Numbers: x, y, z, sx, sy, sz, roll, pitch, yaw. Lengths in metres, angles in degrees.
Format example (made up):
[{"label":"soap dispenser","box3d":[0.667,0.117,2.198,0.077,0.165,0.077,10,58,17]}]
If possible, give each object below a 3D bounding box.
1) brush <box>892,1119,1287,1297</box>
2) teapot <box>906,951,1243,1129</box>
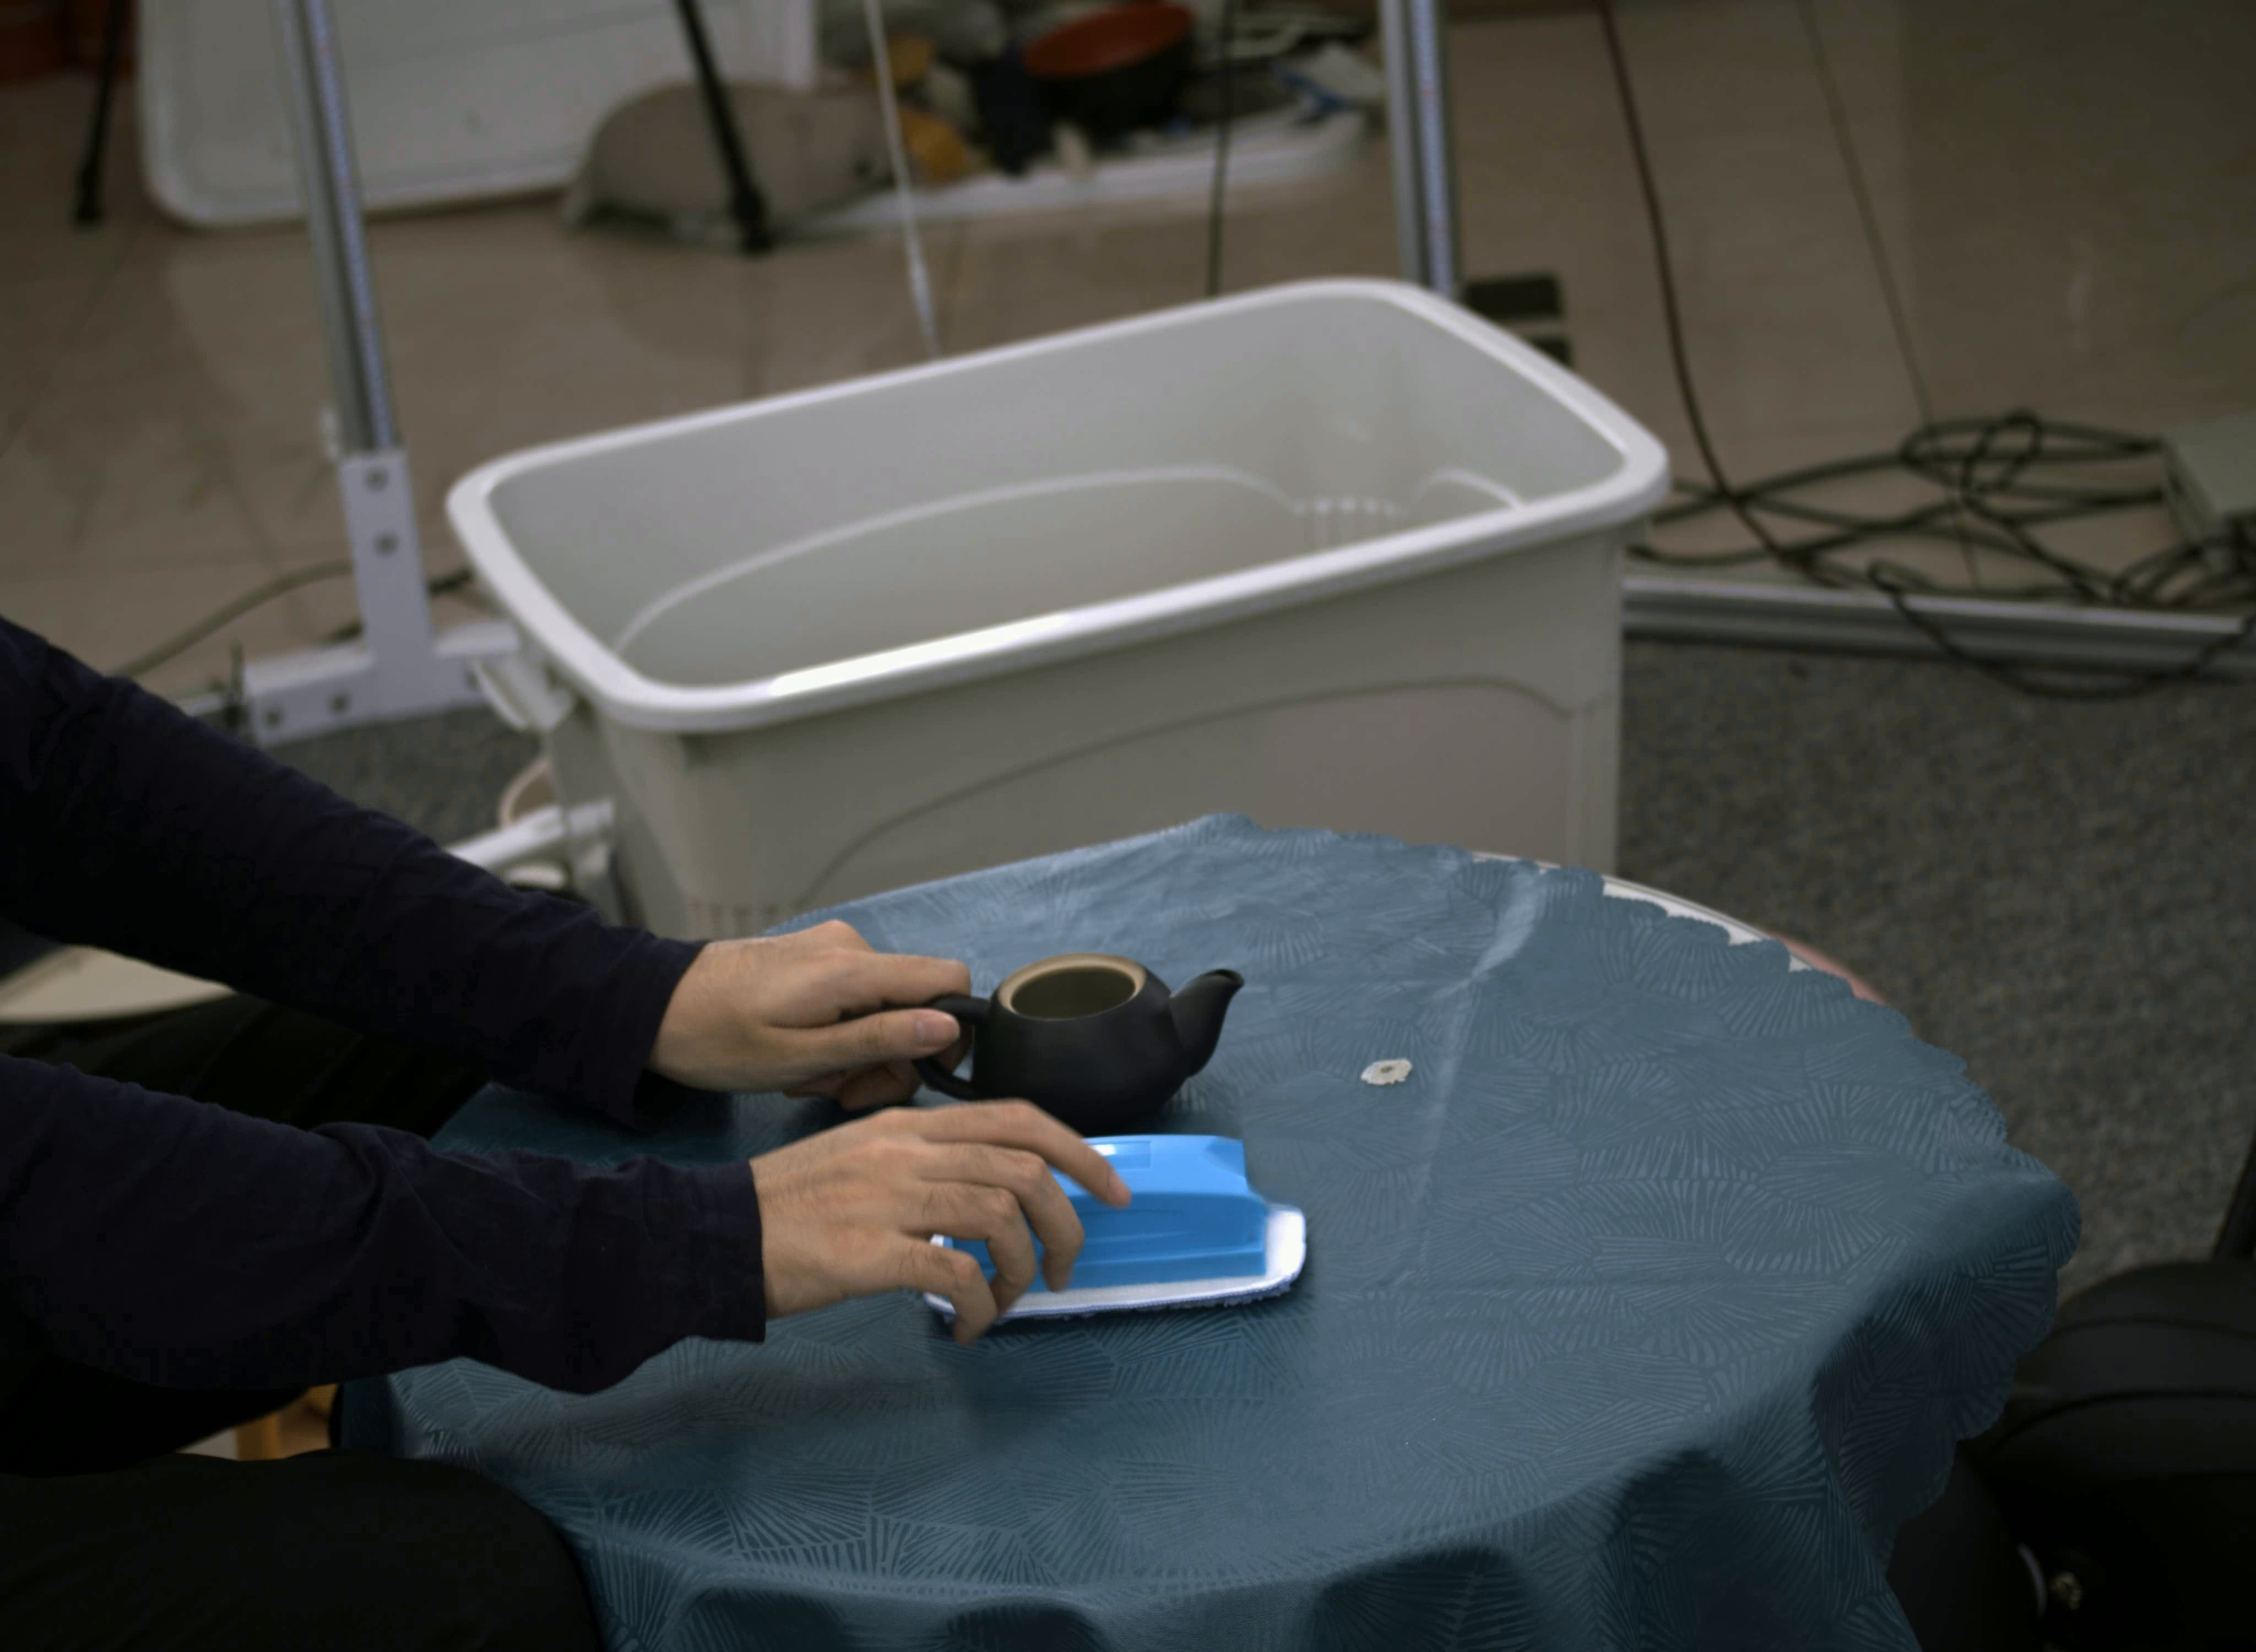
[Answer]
[{"label":"brush","box3d":[-0.014,0.138,2.079,0.144,0.057,0.083,-1,22,4]},{"label":"teapot","box3d":[-0.020,0.084,2.203,0.133,0.054,0.089,-4,24,3]}]
